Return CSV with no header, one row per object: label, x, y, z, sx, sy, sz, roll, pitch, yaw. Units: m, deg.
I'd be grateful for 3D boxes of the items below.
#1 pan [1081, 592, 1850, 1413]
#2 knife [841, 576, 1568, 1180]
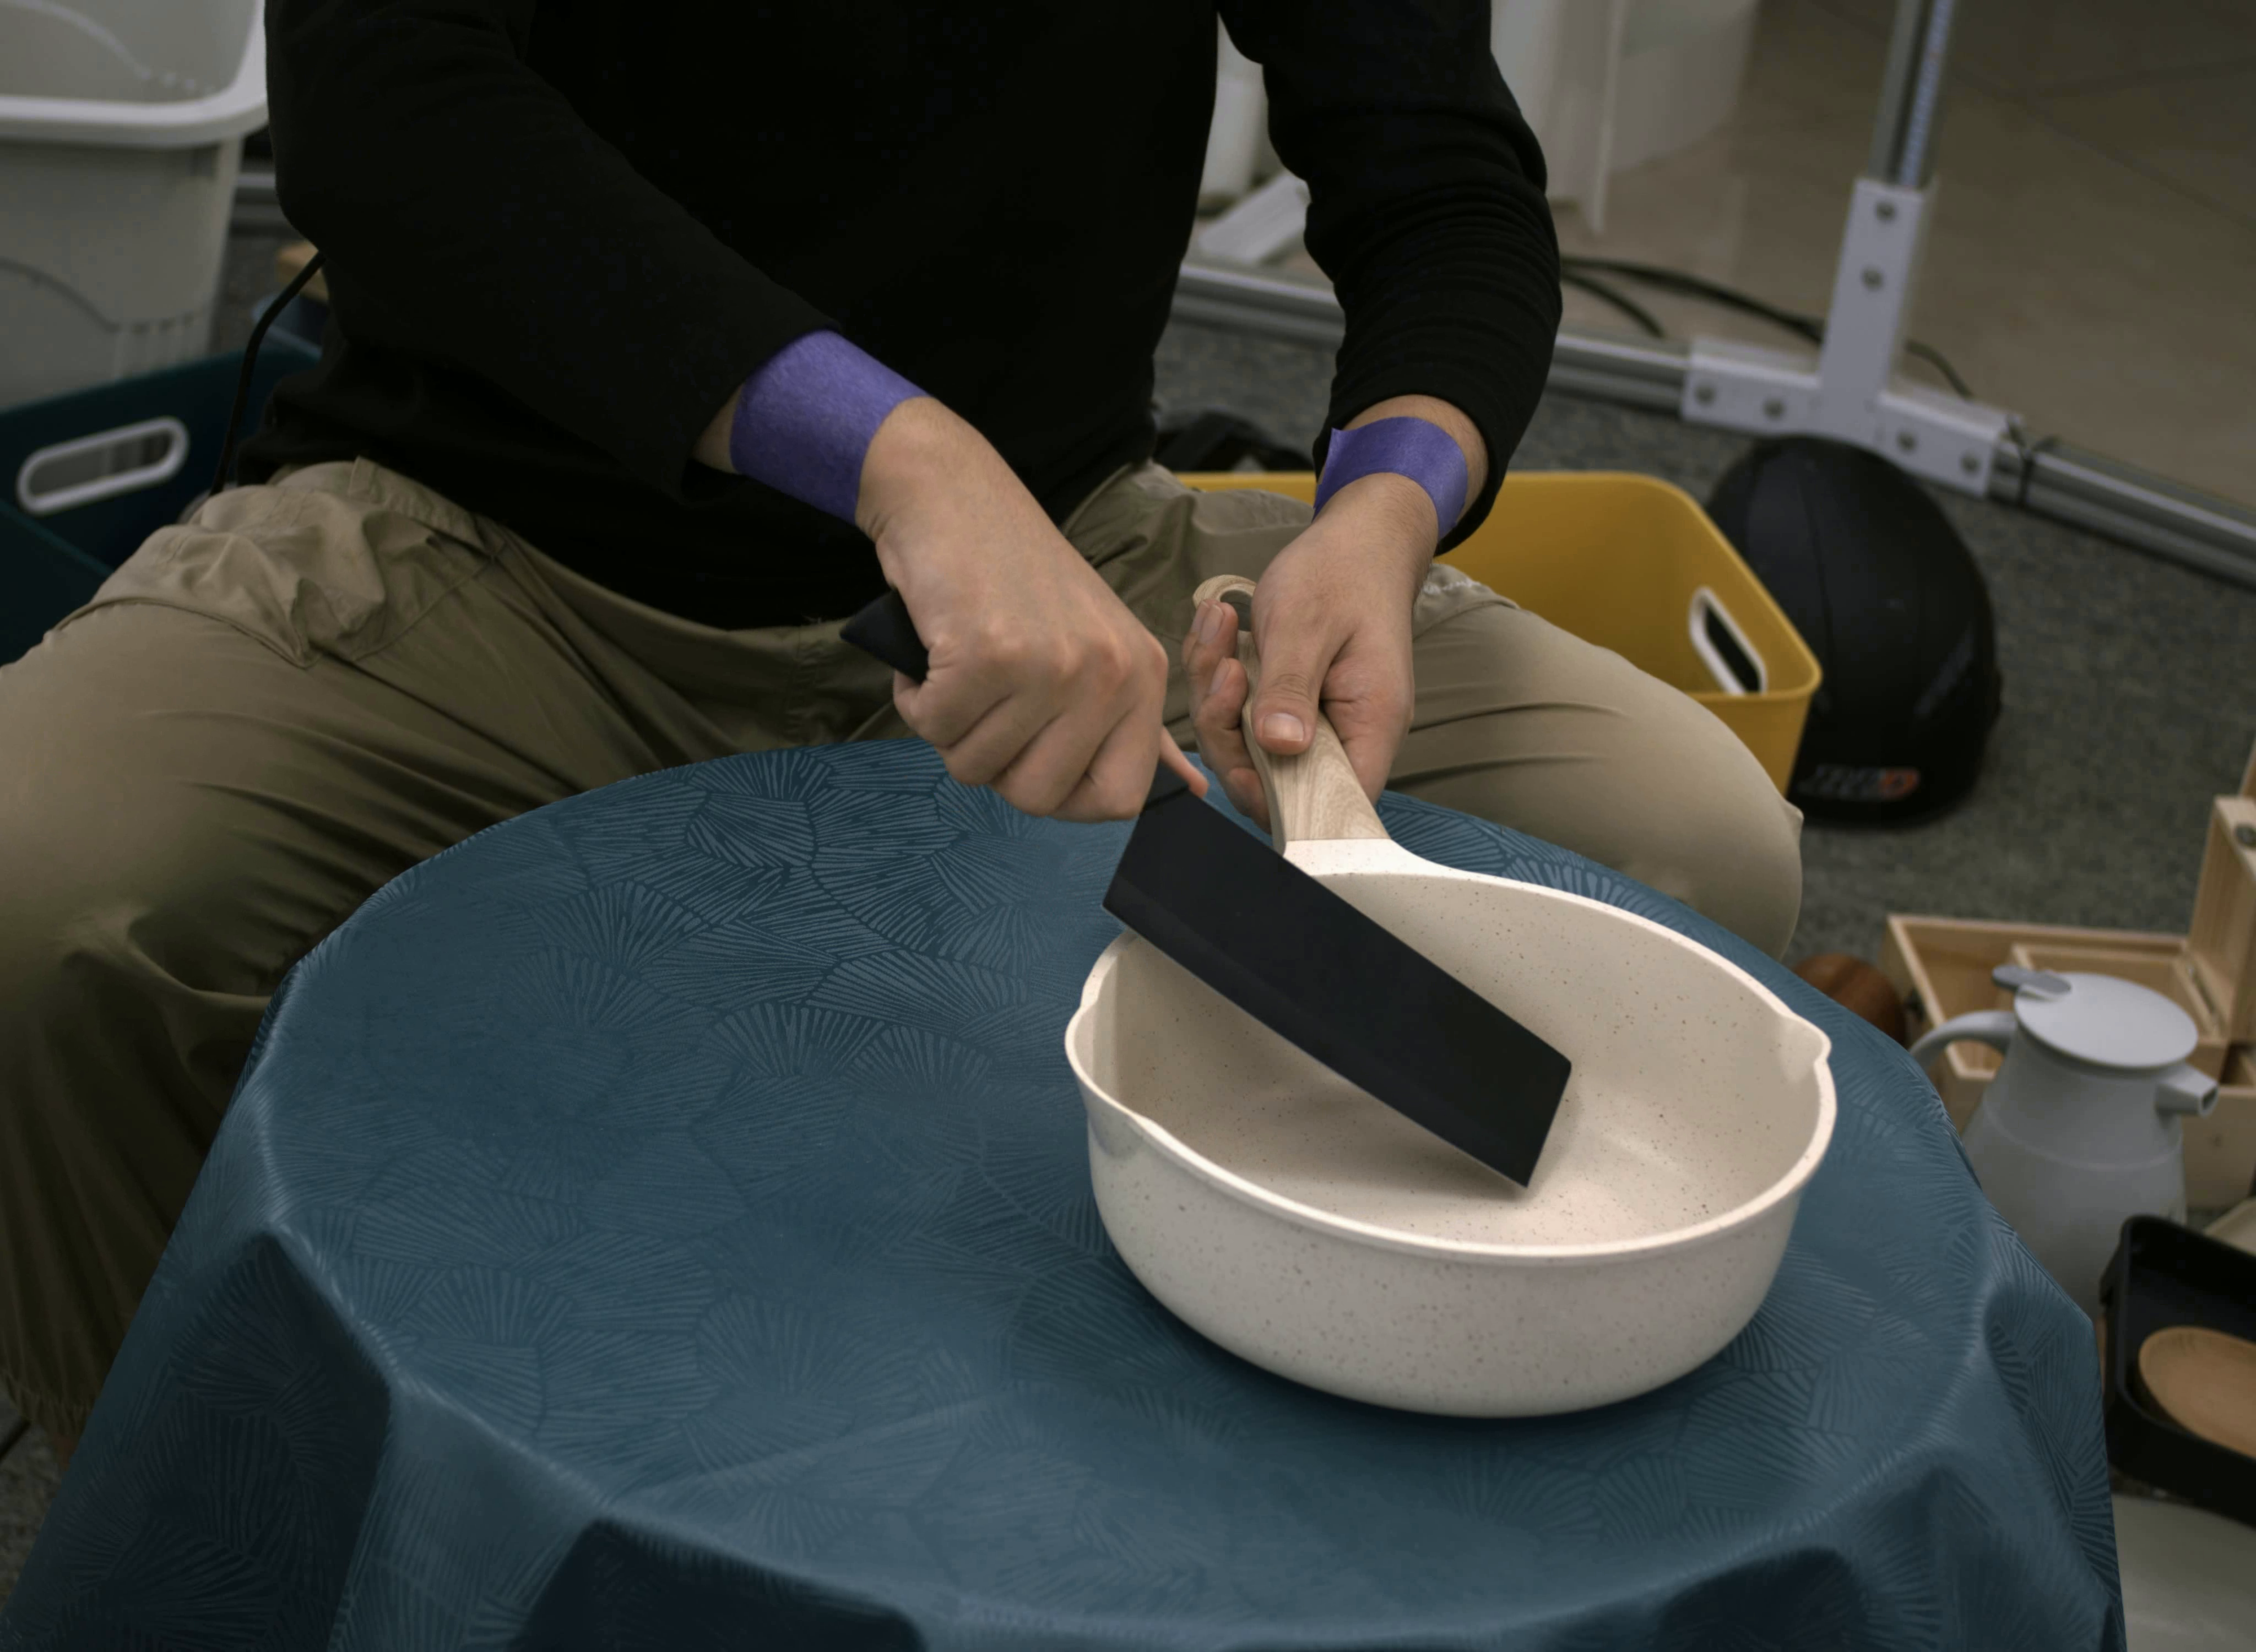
pan,0.086,0.058,1.845,0.262,0.101,0.438,-3,28,-15
knife,0.027,0.016,1.805,0.301,0.021,0.081,39,47,-8
